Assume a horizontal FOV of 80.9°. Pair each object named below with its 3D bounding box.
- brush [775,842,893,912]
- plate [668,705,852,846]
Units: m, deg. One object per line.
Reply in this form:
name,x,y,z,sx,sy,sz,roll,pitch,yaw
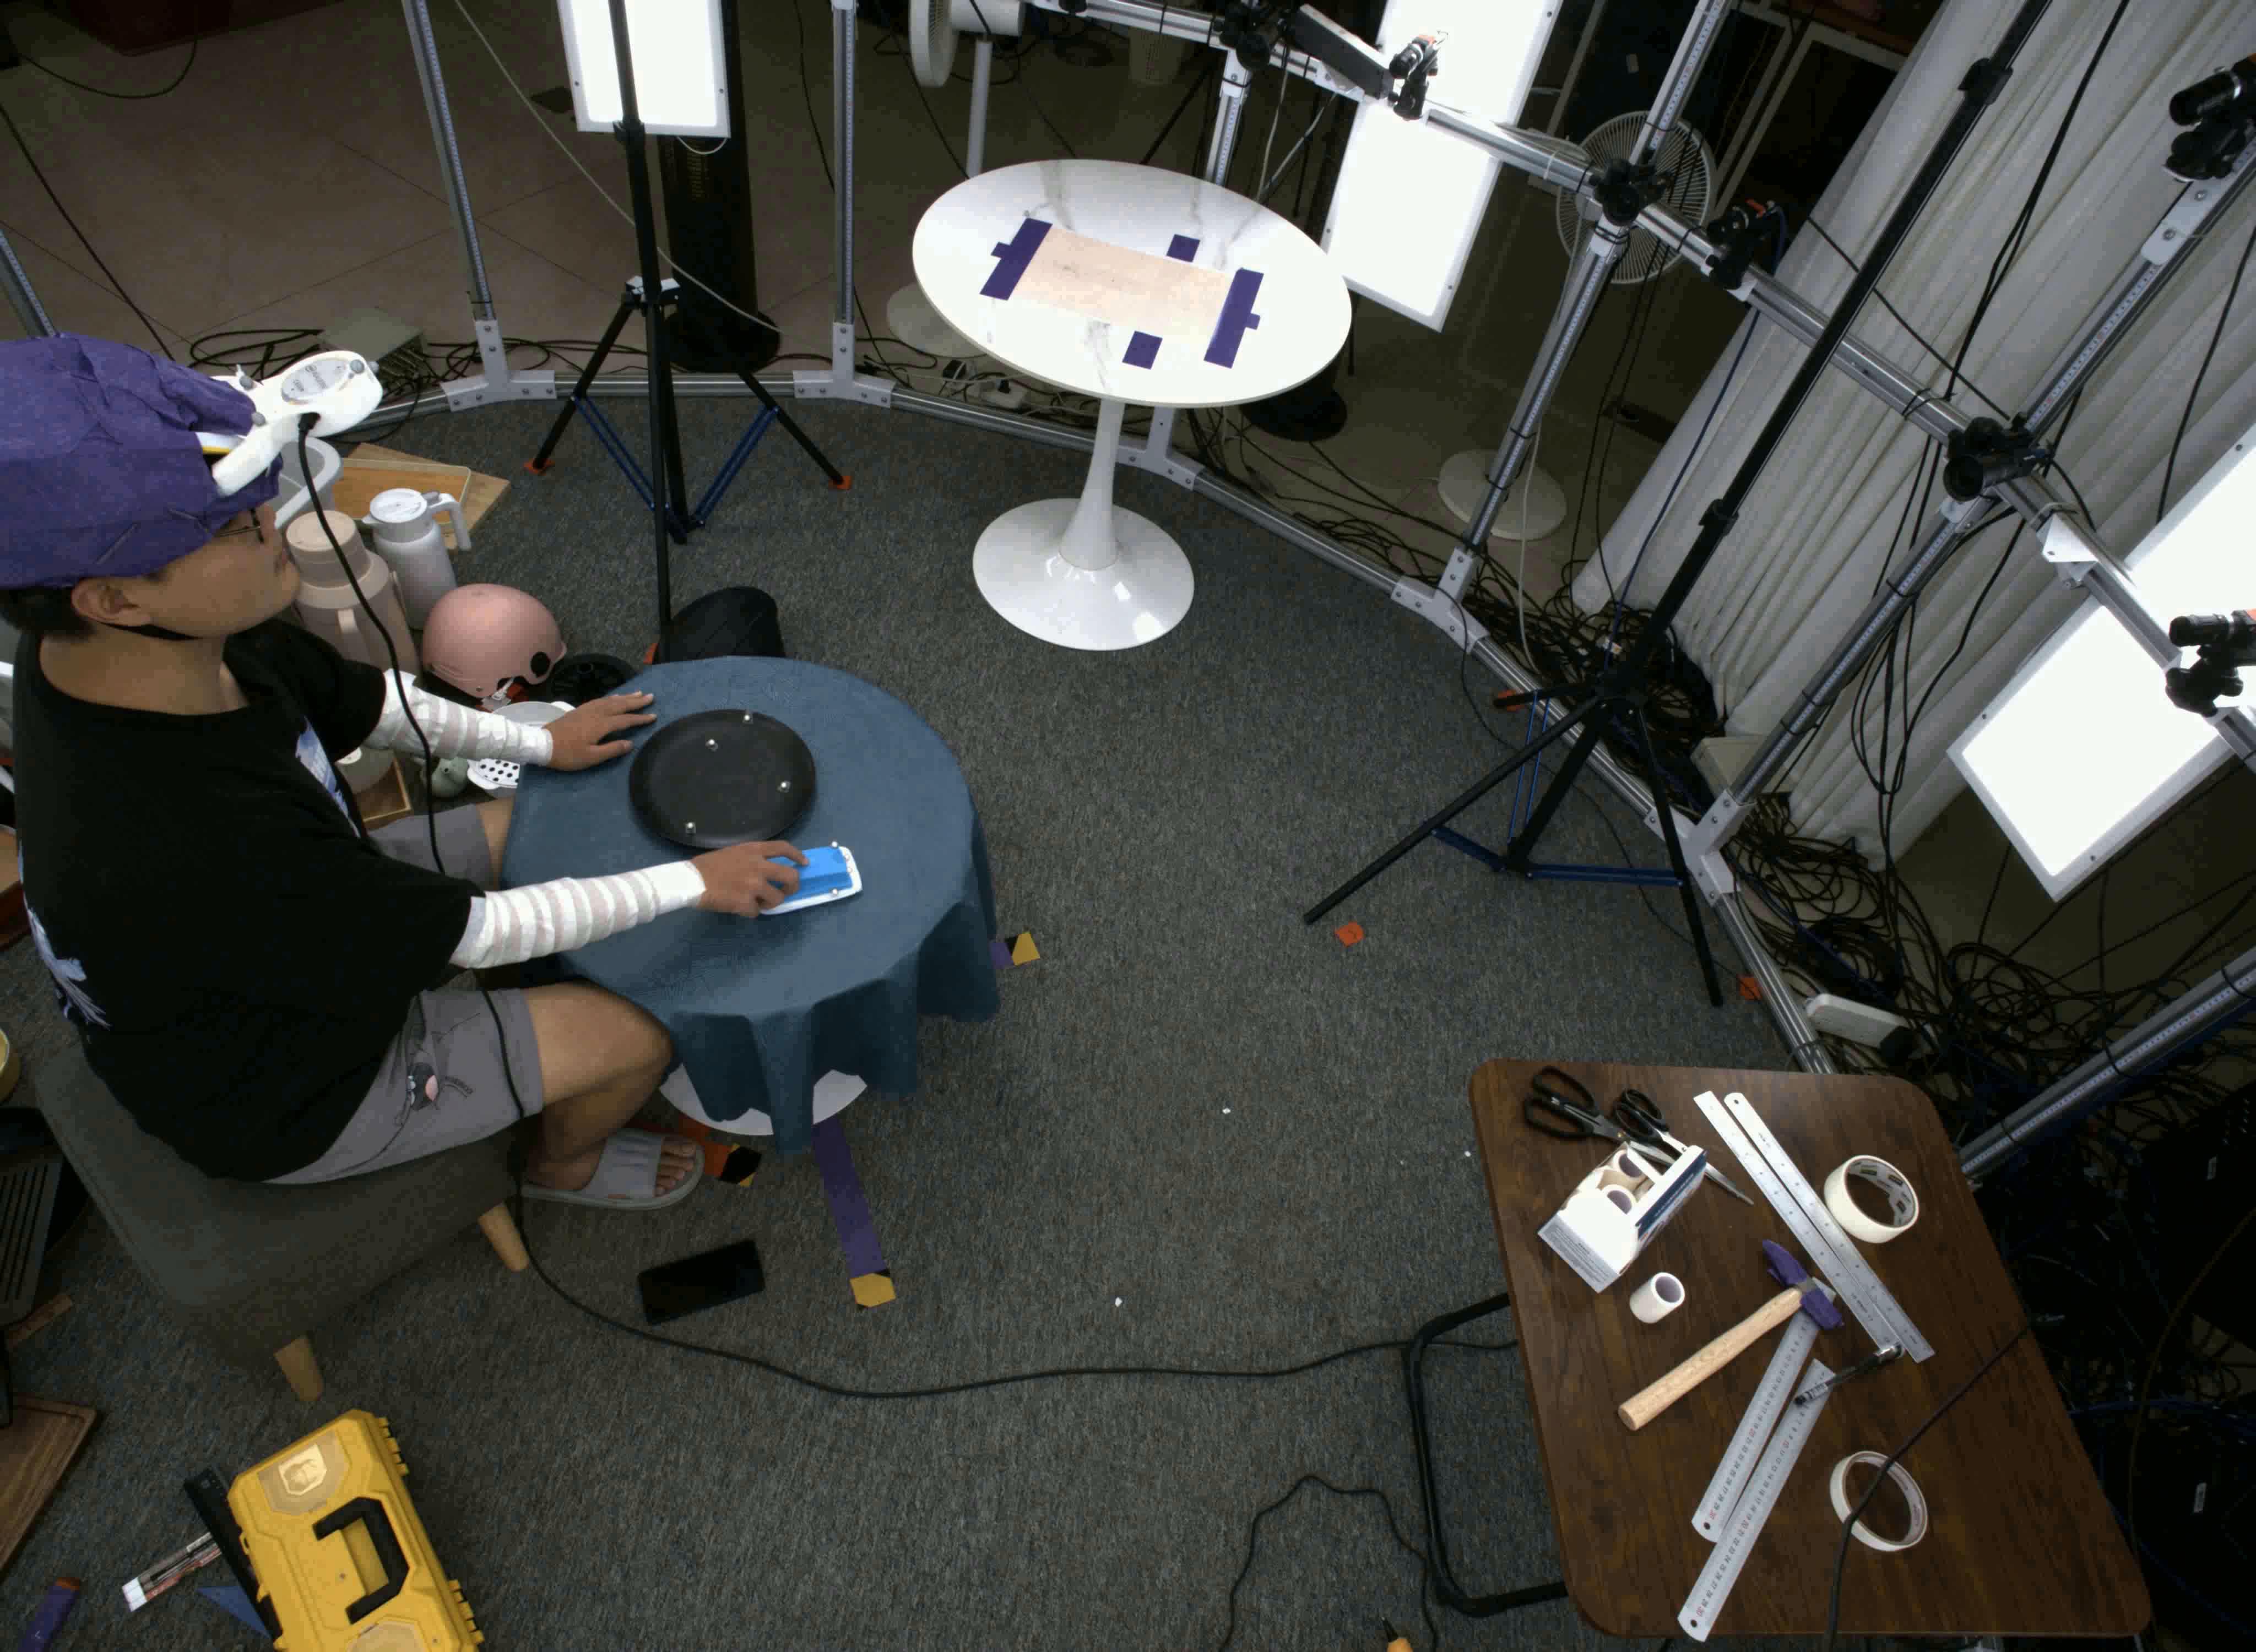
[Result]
brush,-0.378,0.057,1.663,0.145,0.057,0.081,-11,52,-25
plate,-0.496,-0.067,1.750,0.244,0.024,0.240,8,53,-9
